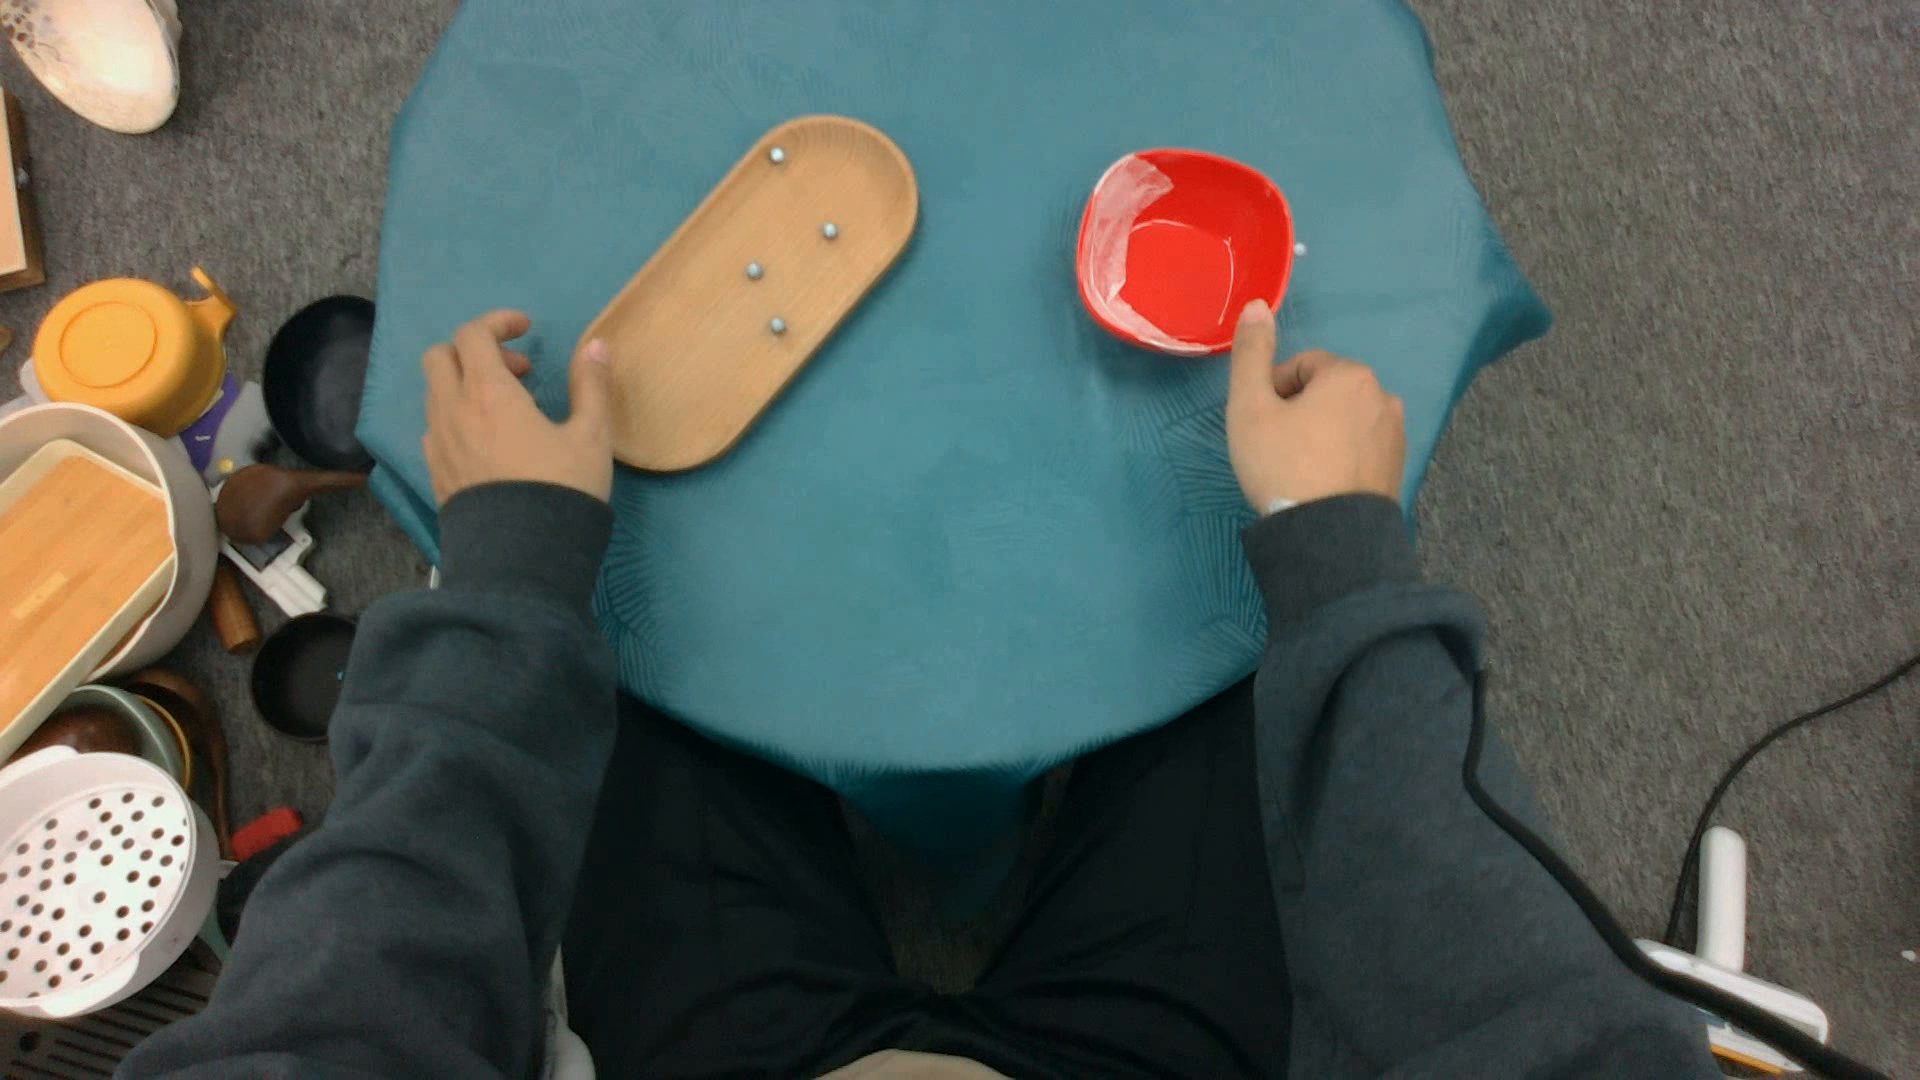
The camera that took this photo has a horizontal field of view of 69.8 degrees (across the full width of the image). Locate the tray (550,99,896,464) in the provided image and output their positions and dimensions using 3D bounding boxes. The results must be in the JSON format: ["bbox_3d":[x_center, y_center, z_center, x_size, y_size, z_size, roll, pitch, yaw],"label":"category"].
[{"bbox_3d":[-0.125,-0.140,0.738,0.101,0.020,0.231,36,81,7],"label":"tray"}]

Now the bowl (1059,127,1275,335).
[{"bbox_3d":[0.106,-0.155,0.728,0.119,0.051,0.119,1,78,-2],"label":"bowl"}]
